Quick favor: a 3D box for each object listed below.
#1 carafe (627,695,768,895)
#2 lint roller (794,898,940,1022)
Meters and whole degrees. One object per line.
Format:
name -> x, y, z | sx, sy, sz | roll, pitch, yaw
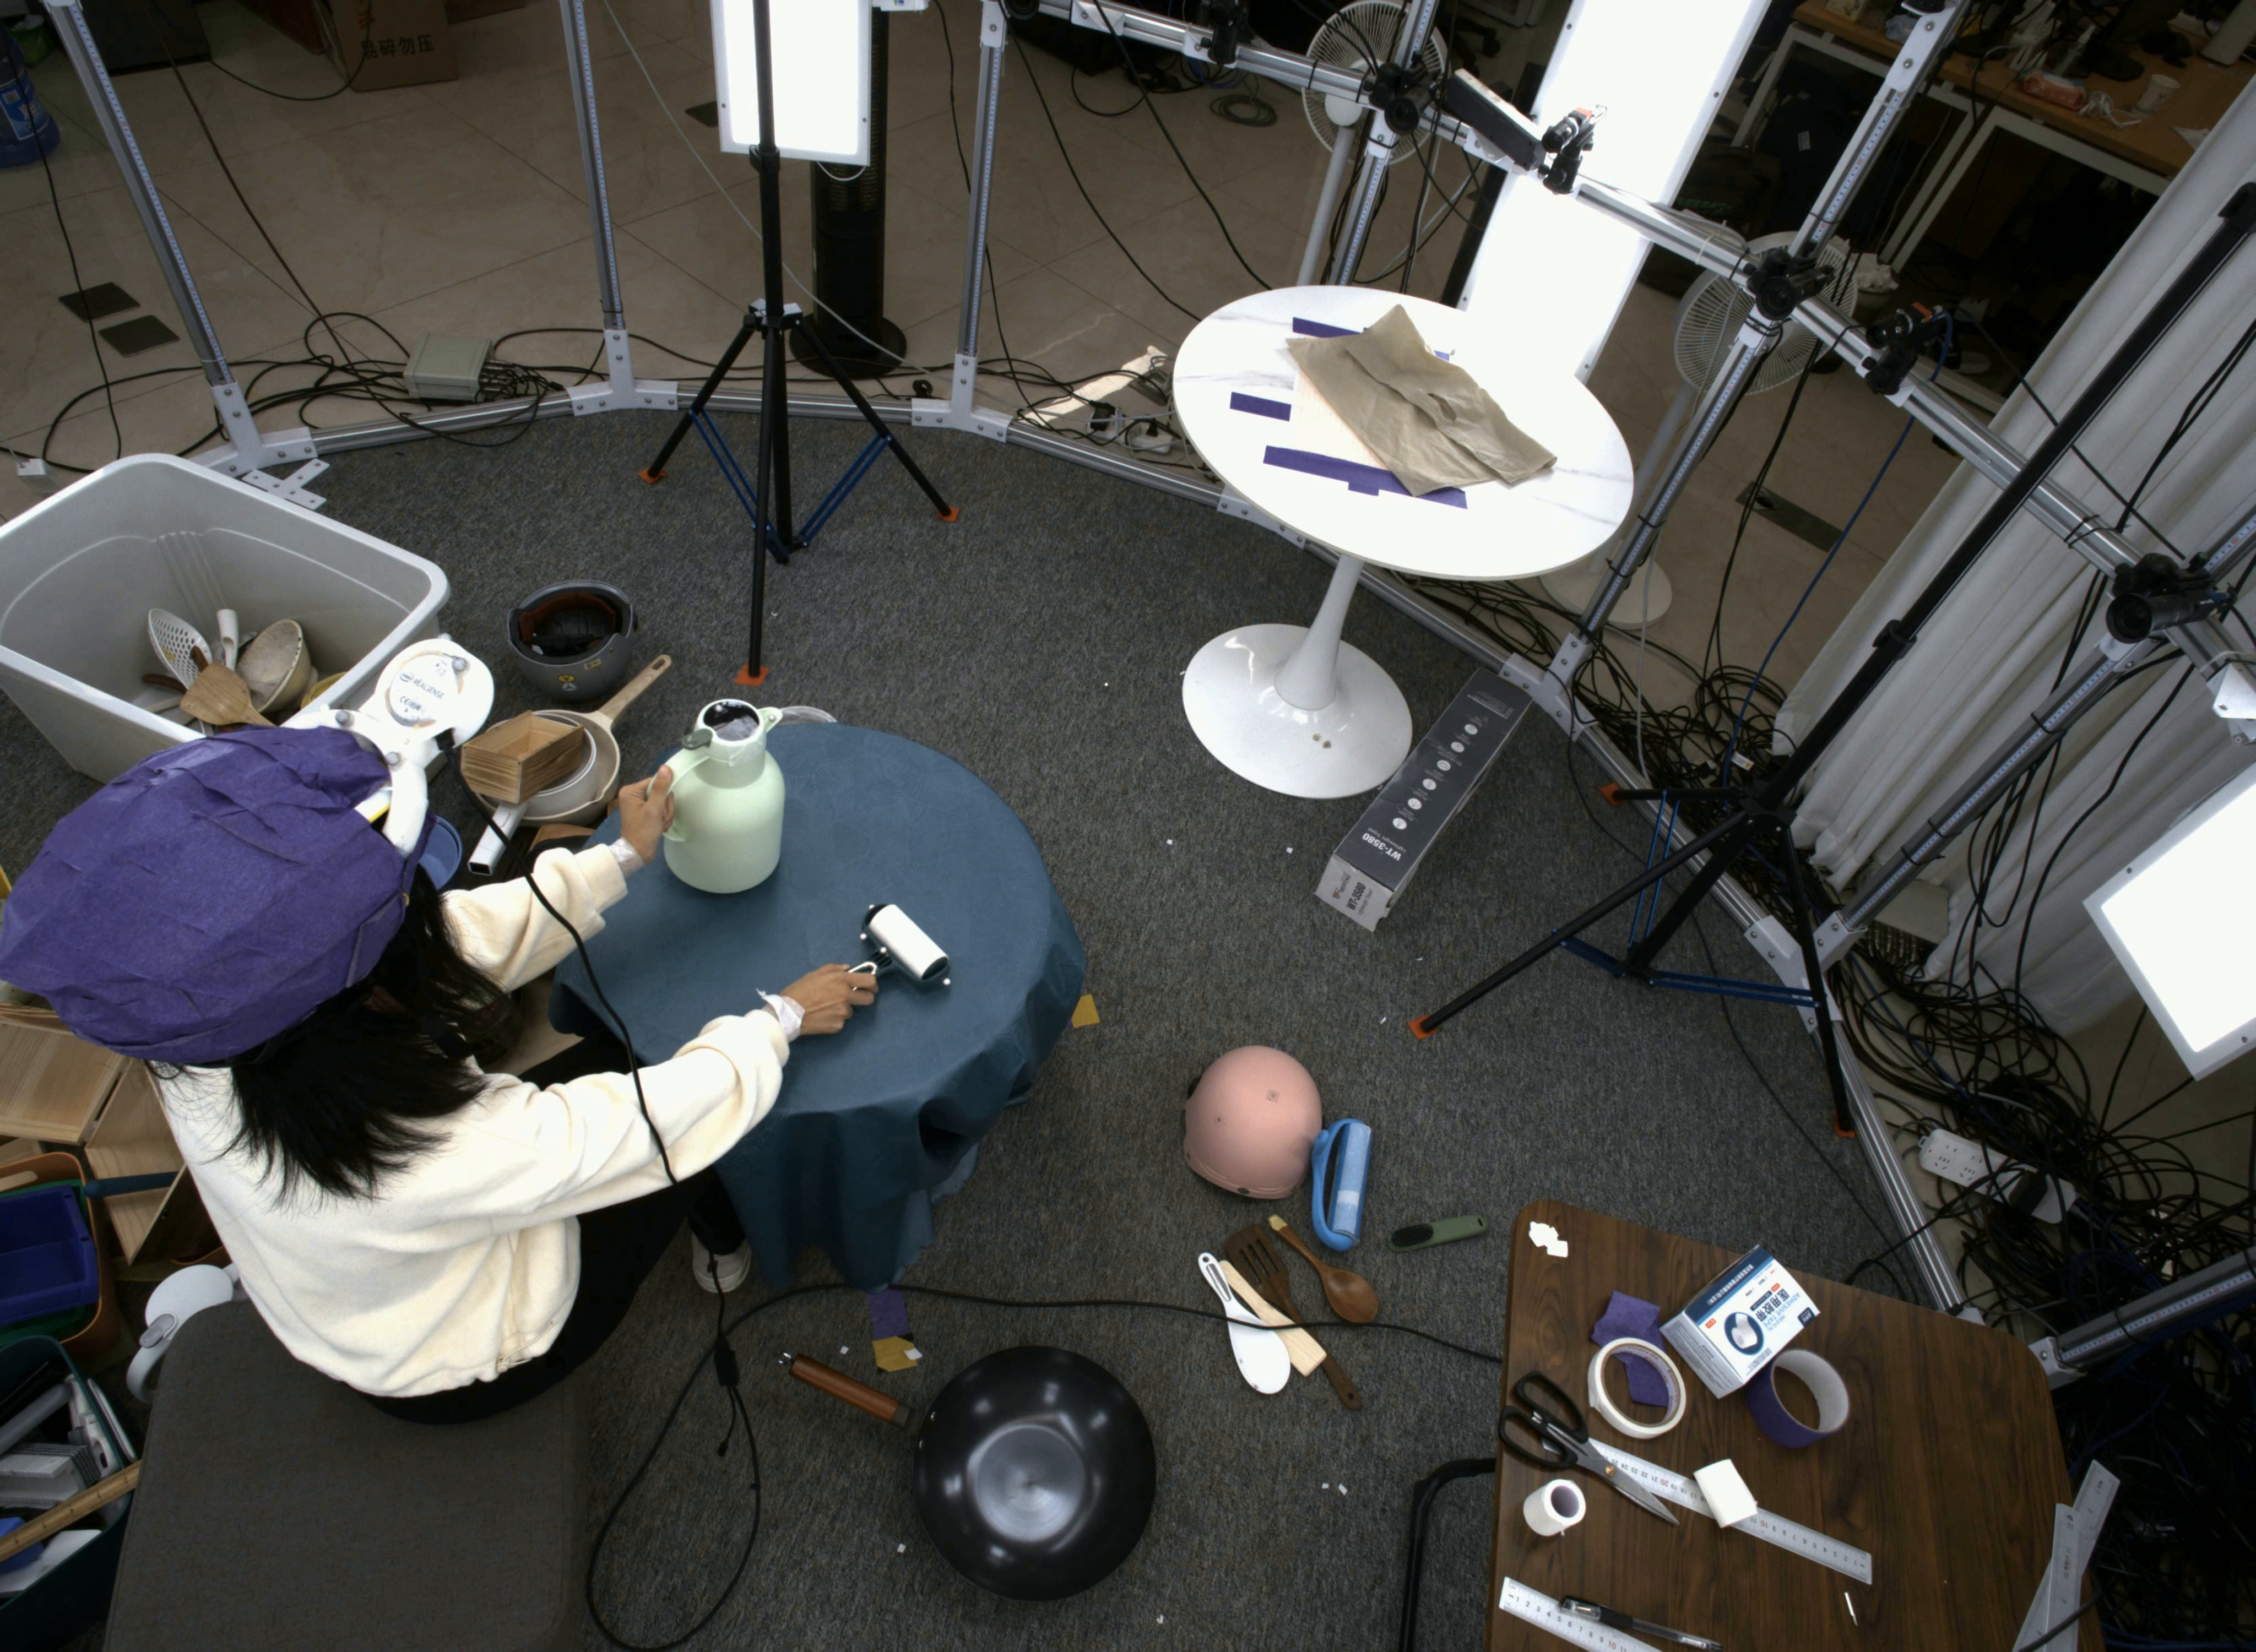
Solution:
carafe -> -0.517, -0.037, 1.552 | 0.141, 0.261, 0.187 | 40, 53, 15
lint roller -> -0.329, 0.172, 1.571 | 0.131, 0.049, 0.181 | 40, 46, 18
